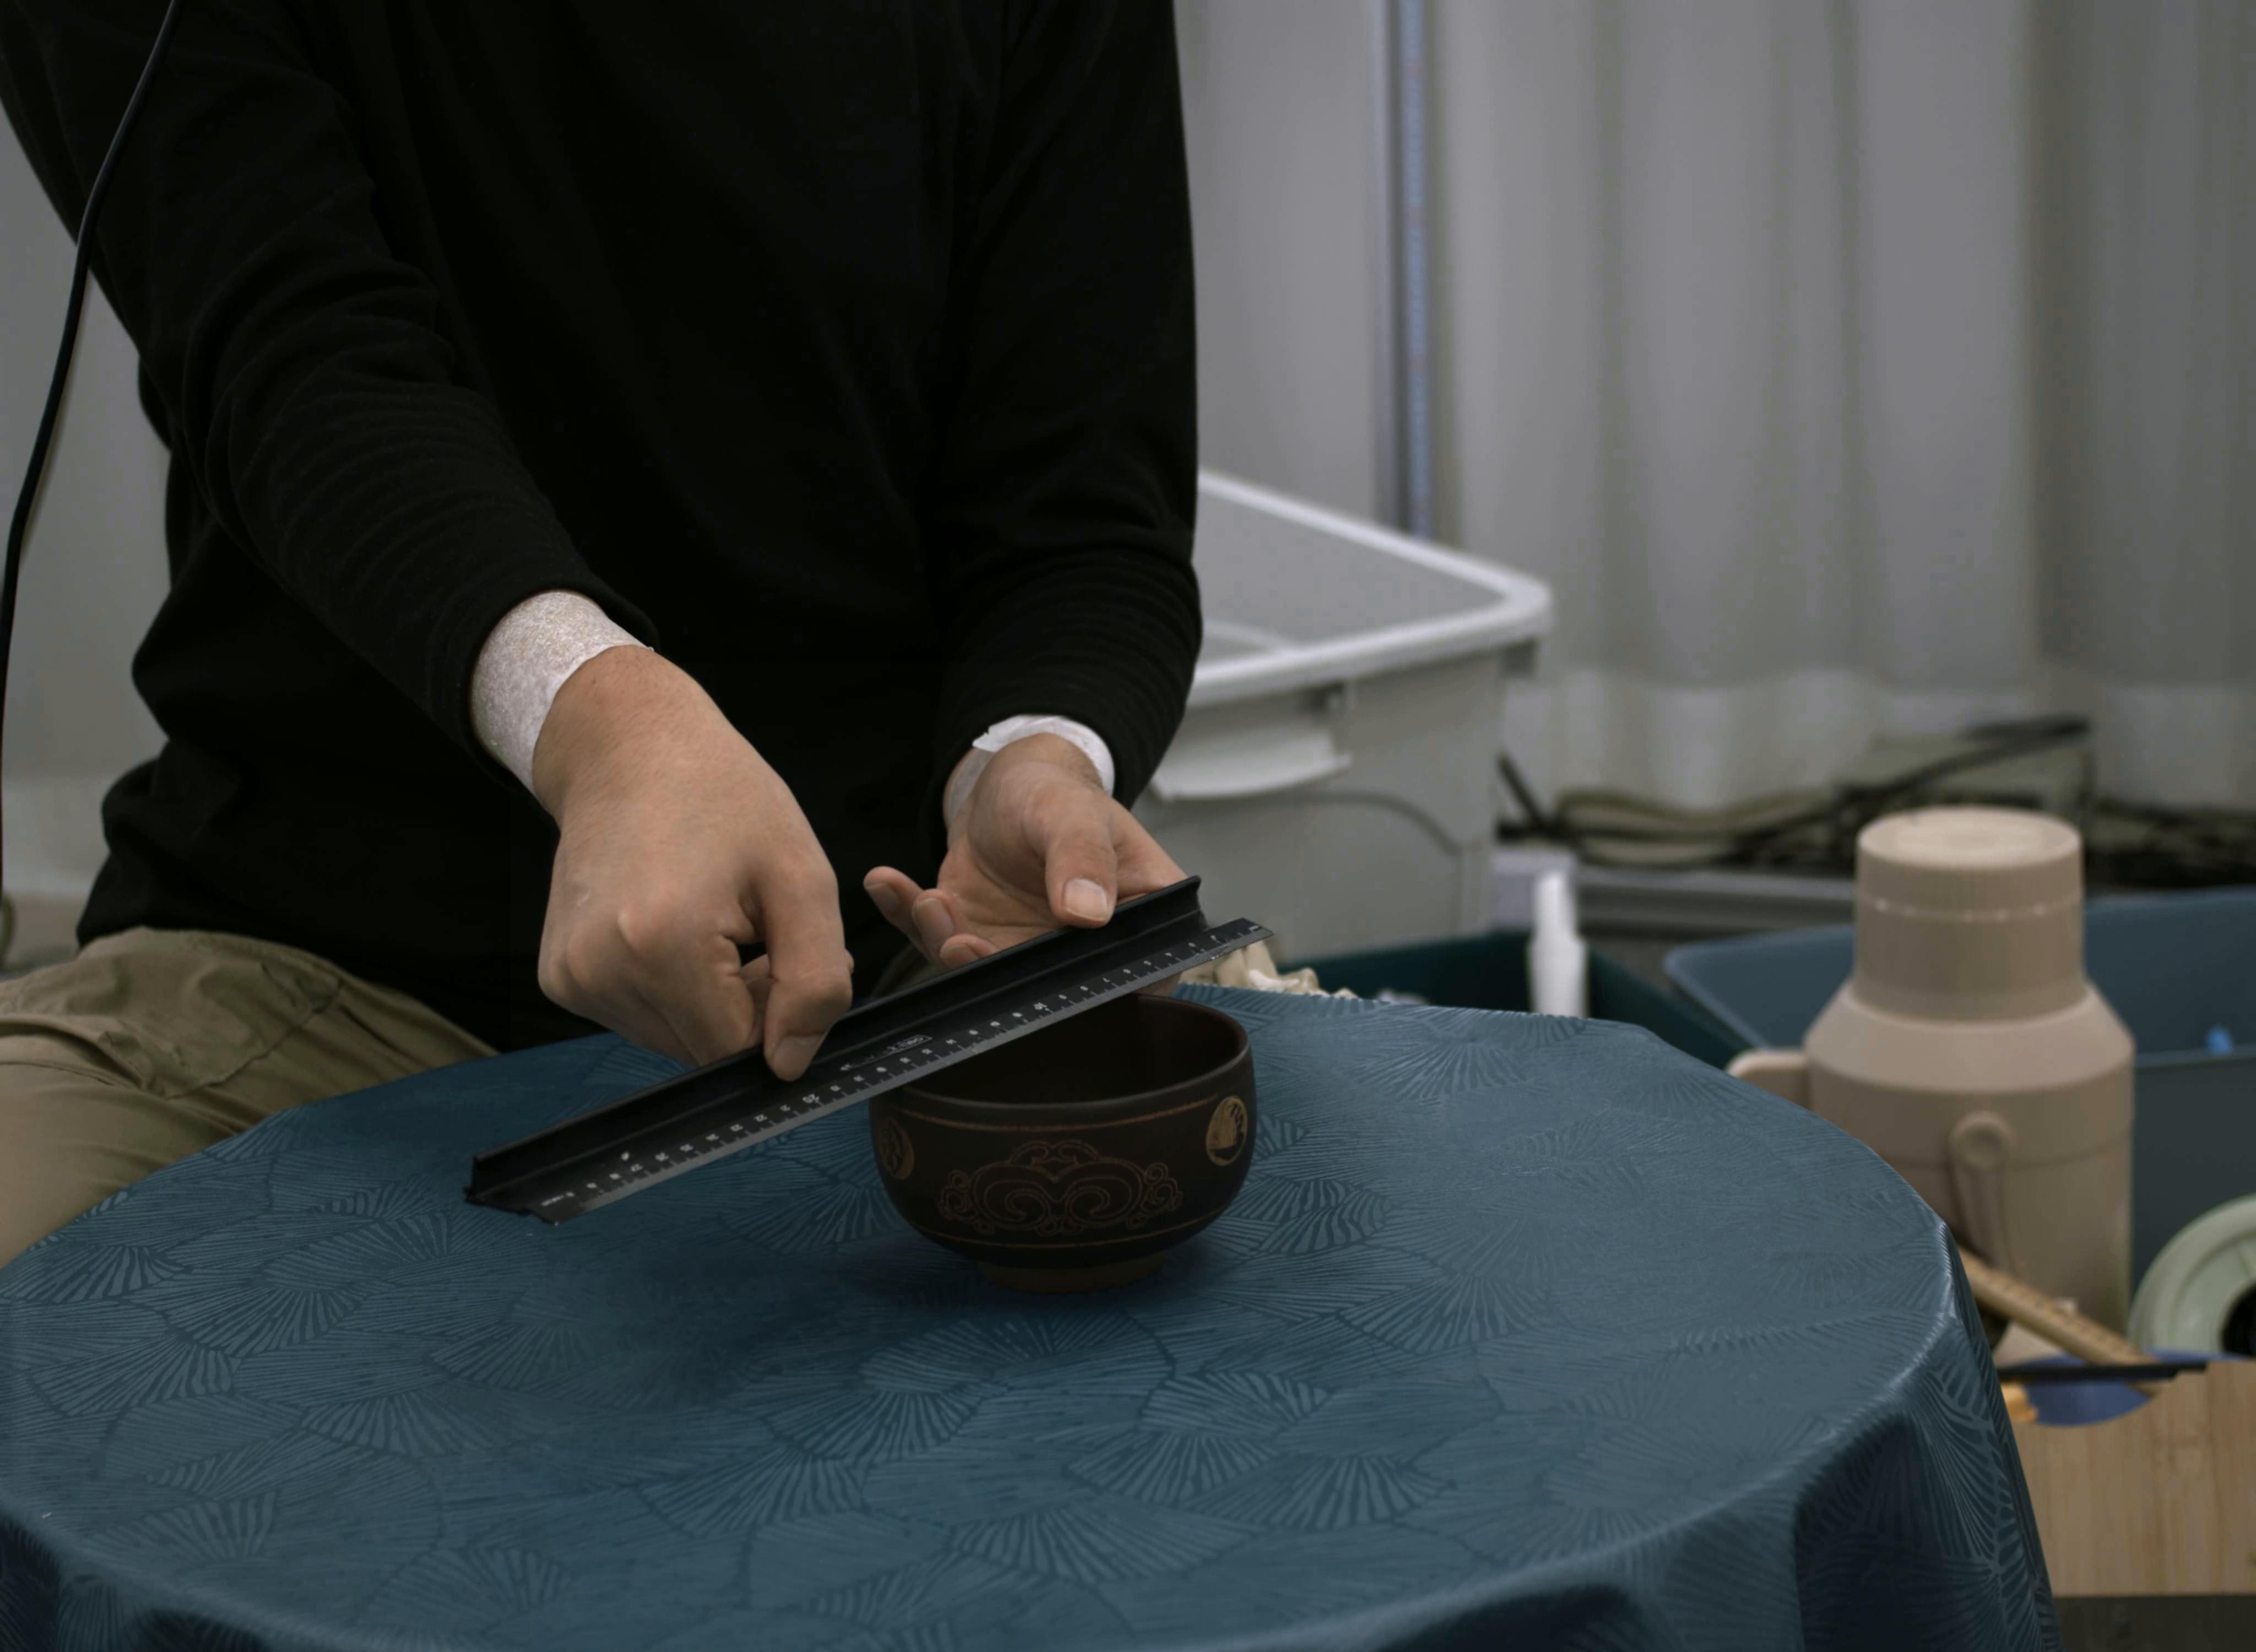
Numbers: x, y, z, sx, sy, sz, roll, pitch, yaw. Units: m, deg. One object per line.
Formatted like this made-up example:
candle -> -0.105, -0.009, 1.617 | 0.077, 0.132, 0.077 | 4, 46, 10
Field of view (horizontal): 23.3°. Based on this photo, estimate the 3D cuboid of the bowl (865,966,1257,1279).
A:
bowl -> -0.020, 0.094, 1.644 | 0.117, 0.069, 0.119 | 0, 18, 0

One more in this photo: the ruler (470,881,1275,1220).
ruler -> -0.069, 0.063, 1.627 | 0.039, 0.017, 0.312 | 13, 23, 40
